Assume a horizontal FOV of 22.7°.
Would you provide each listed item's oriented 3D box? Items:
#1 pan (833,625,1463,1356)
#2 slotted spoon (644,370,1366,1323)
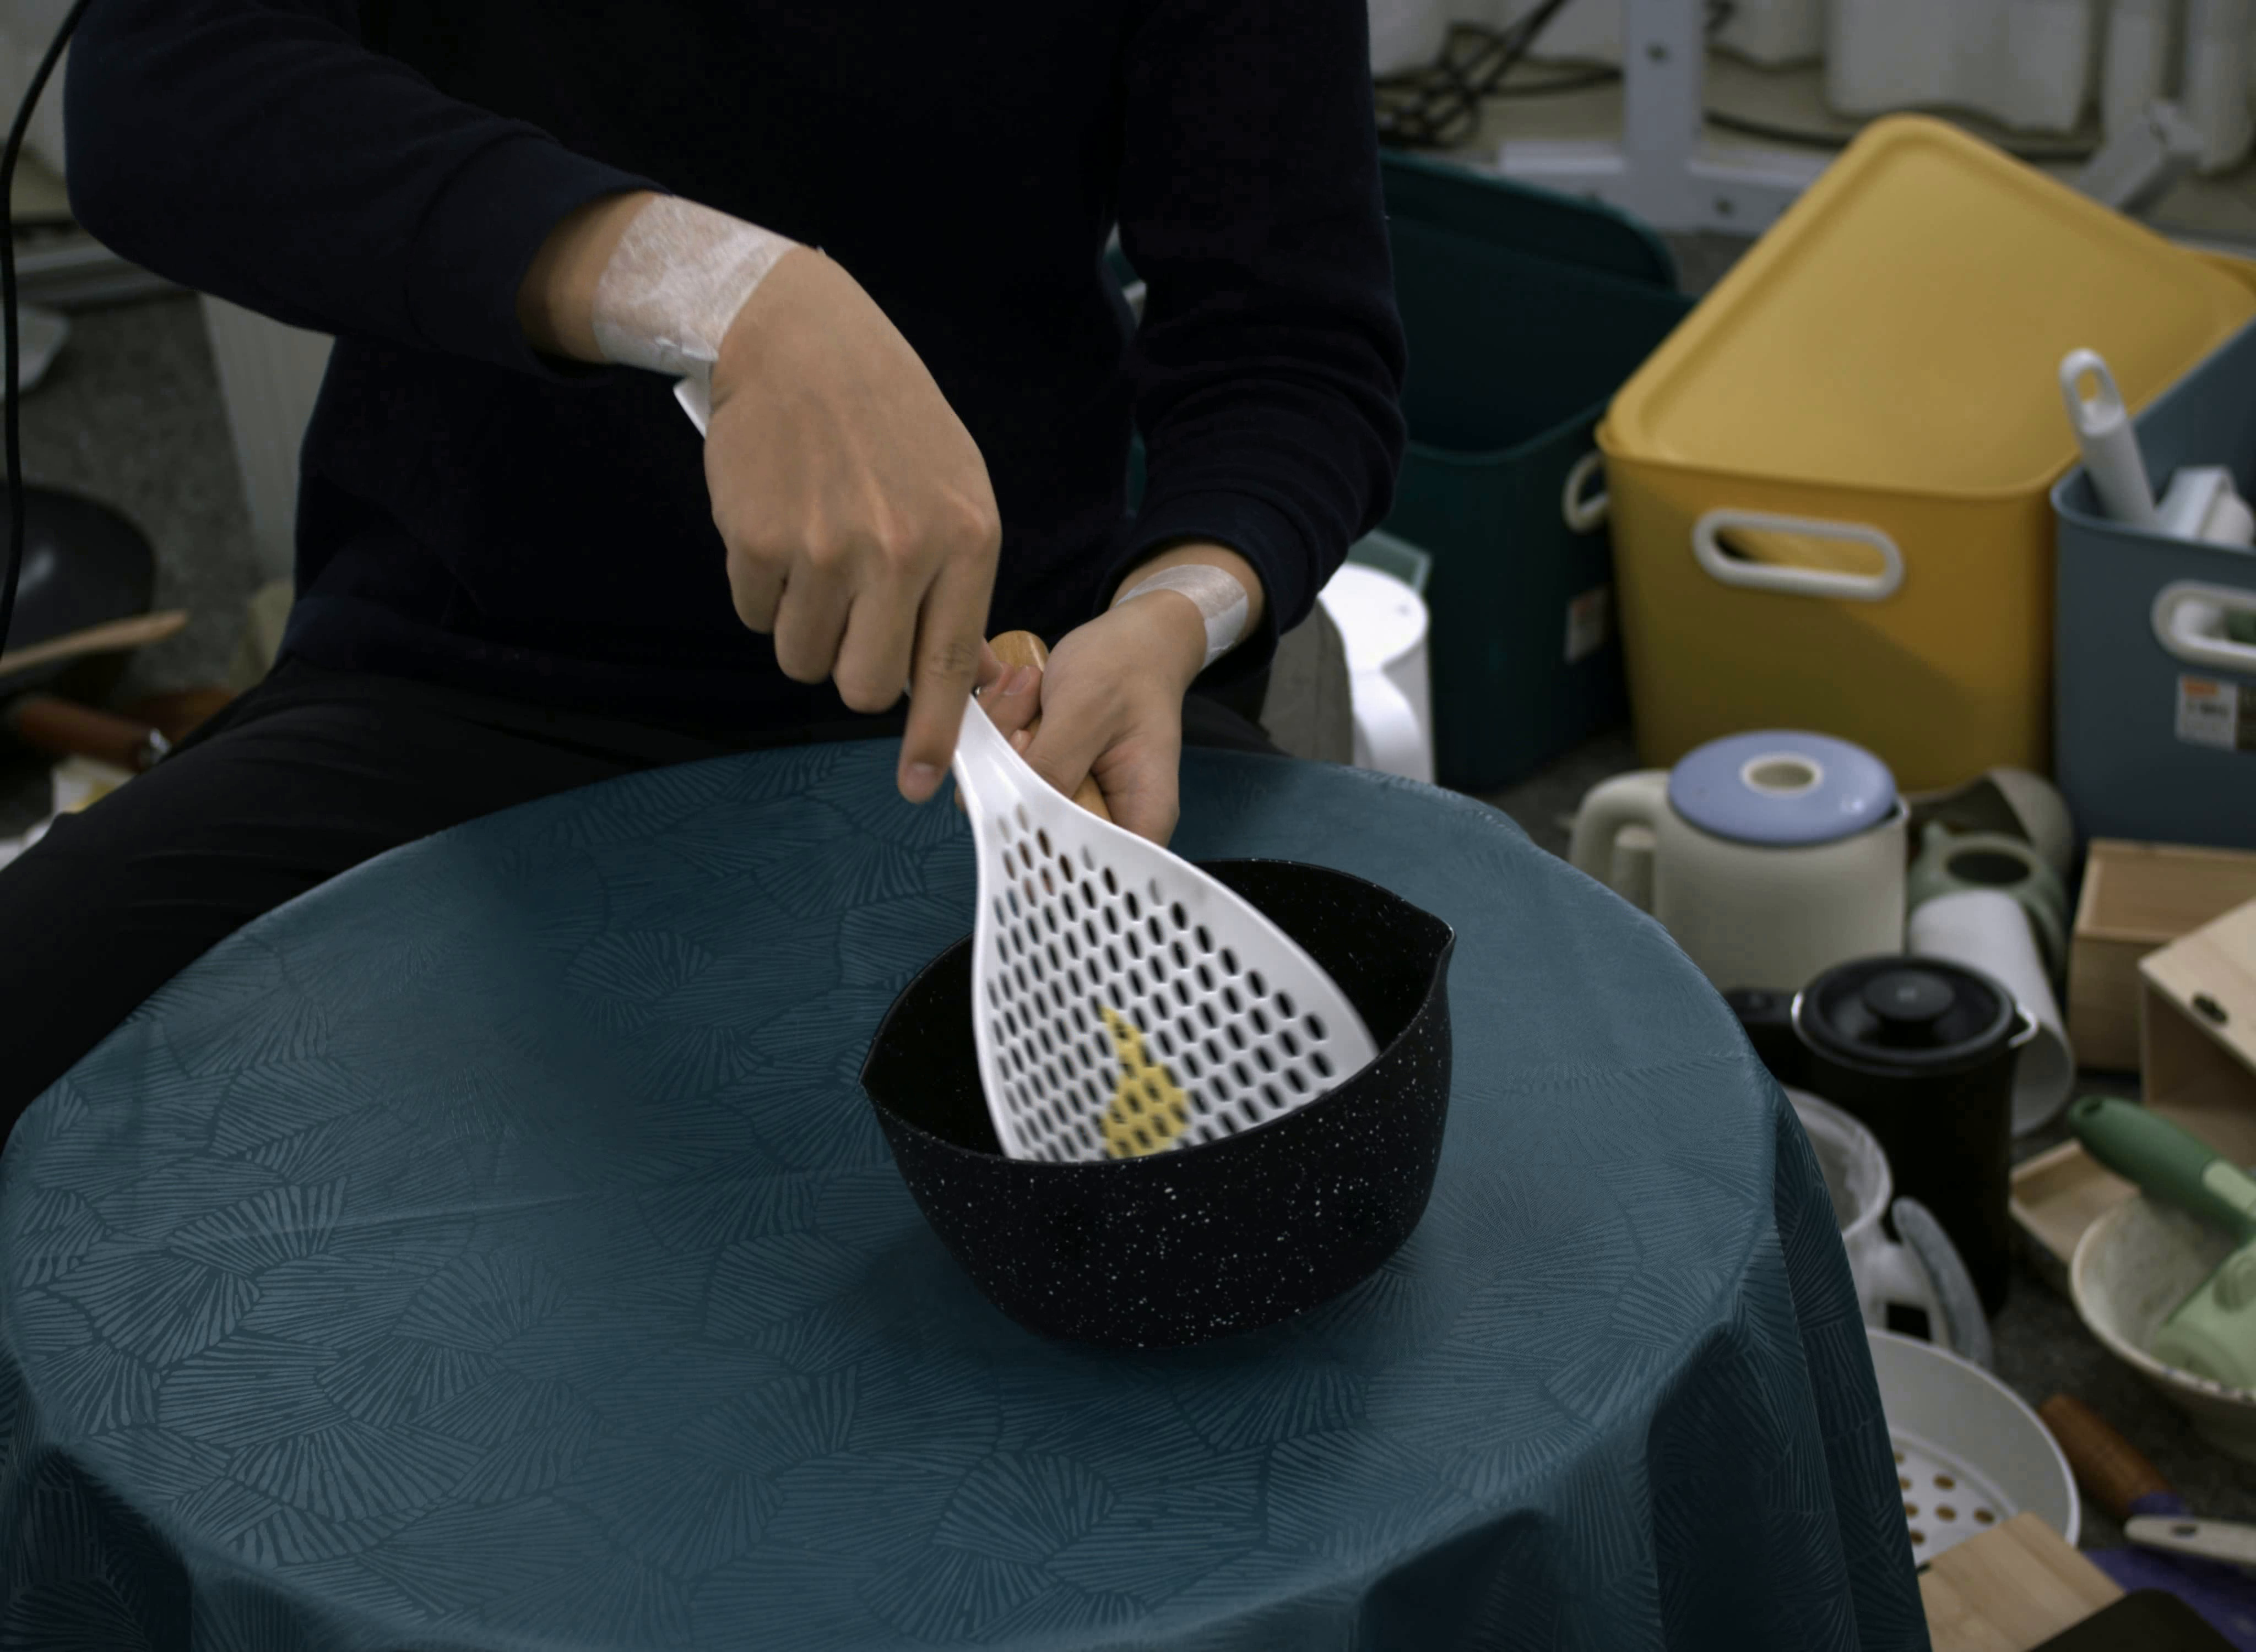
[{"bbox_3d":[-0.003,0.049,1.873,0.207,0.107,0.346,-16,28,-6],"label":"pan"},{"bbox_3d":[-0.046,-0.002,1.786,0.138,0.348,0.049,-33,5,-31],"label":"slotted spoon"}]
